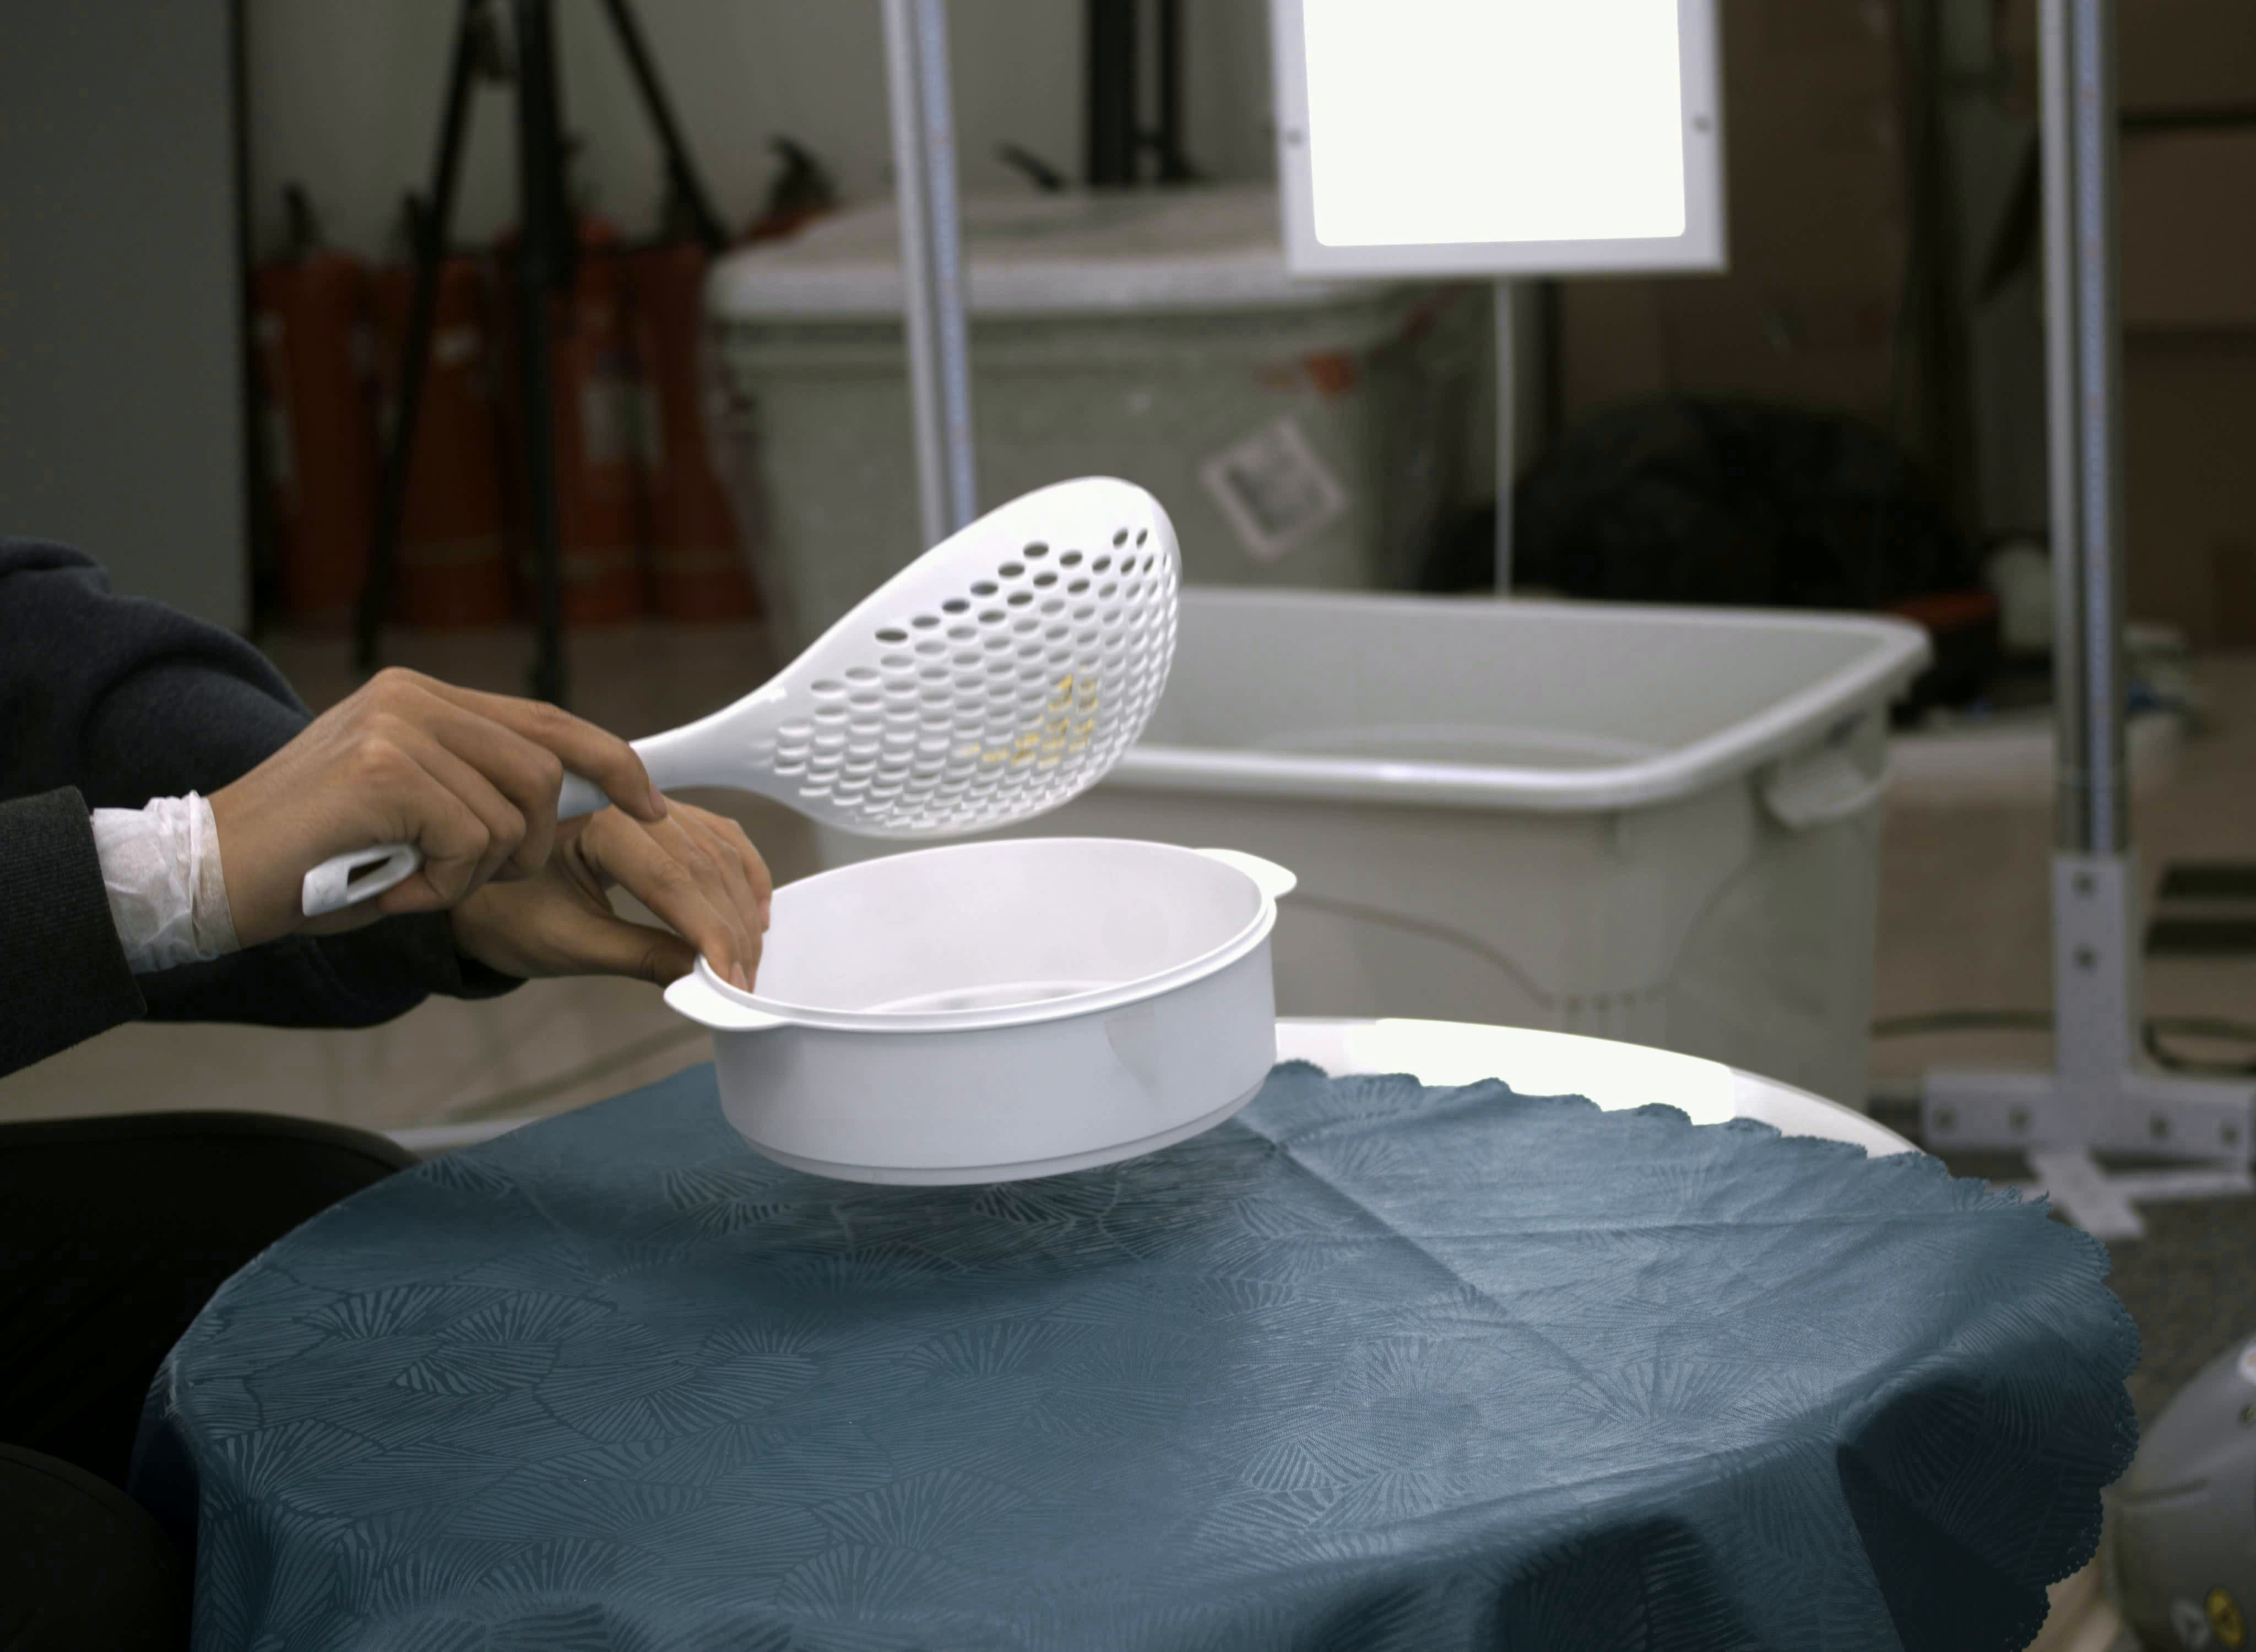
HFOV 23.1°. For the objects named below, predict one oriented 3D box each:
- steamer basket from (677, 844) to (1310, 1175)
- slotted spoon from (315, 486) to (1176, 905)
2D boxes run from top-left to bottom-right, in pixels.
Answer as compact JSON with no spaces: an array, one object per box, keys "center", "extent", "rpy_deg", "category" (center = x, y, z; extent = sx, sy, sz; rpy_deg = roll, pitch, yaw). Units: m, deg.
[{"center":[-0.042,0.063,1.895],"extent":[0.225,0.069,0.205],"rpy_deg":[-12,16,-26],"category":"steamer basket"},{"center":[-0.116,-0.021,1.759],"extent":[0.340,0.138,0.051],"rpy_deg":[-13,44,-31],"category":"slotted spoon"}]
